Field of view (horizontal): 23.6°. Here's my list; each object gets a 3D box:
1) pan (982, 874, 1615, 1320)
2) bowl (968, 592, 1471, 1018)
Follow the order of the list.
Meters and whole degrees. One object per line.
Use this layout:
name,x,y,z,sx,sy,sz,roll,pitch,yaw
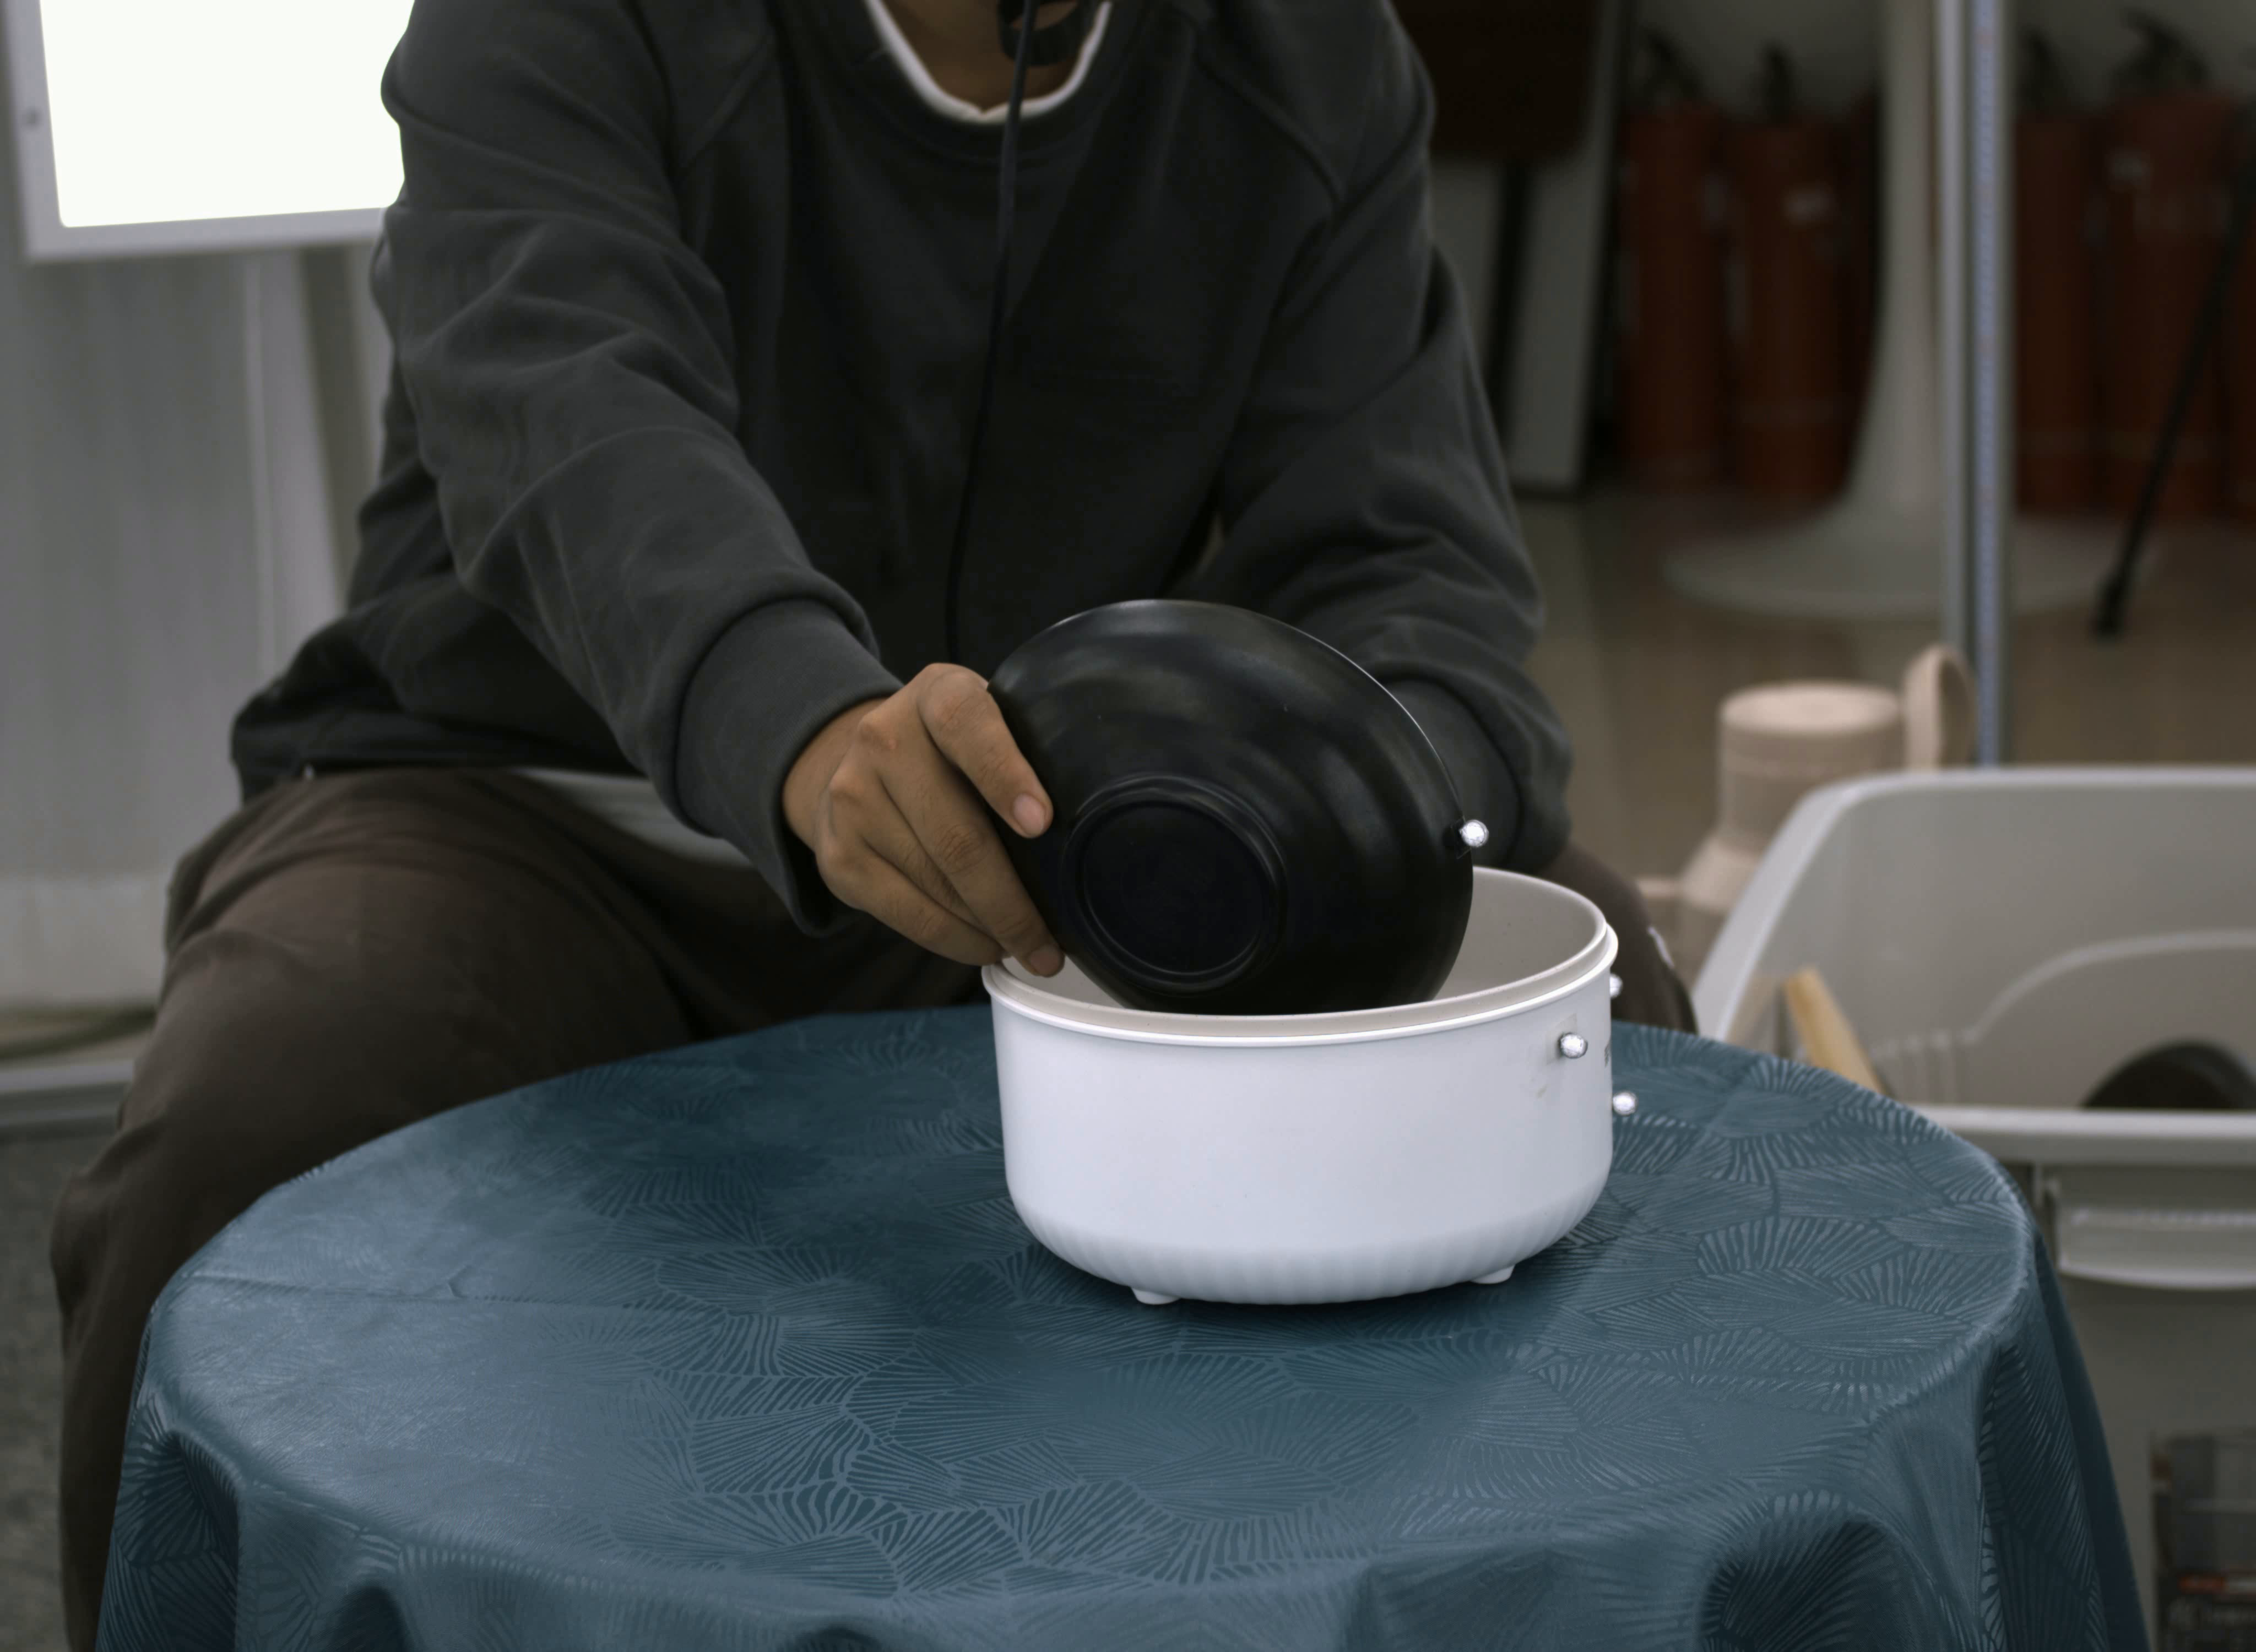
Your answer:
pan,0.054,0.071,1.777,0.198,0.103,0.355,-6,11,-1
bowl,0.022,0.007,1.634,0.170,0.138,0.066,41,30,-2
